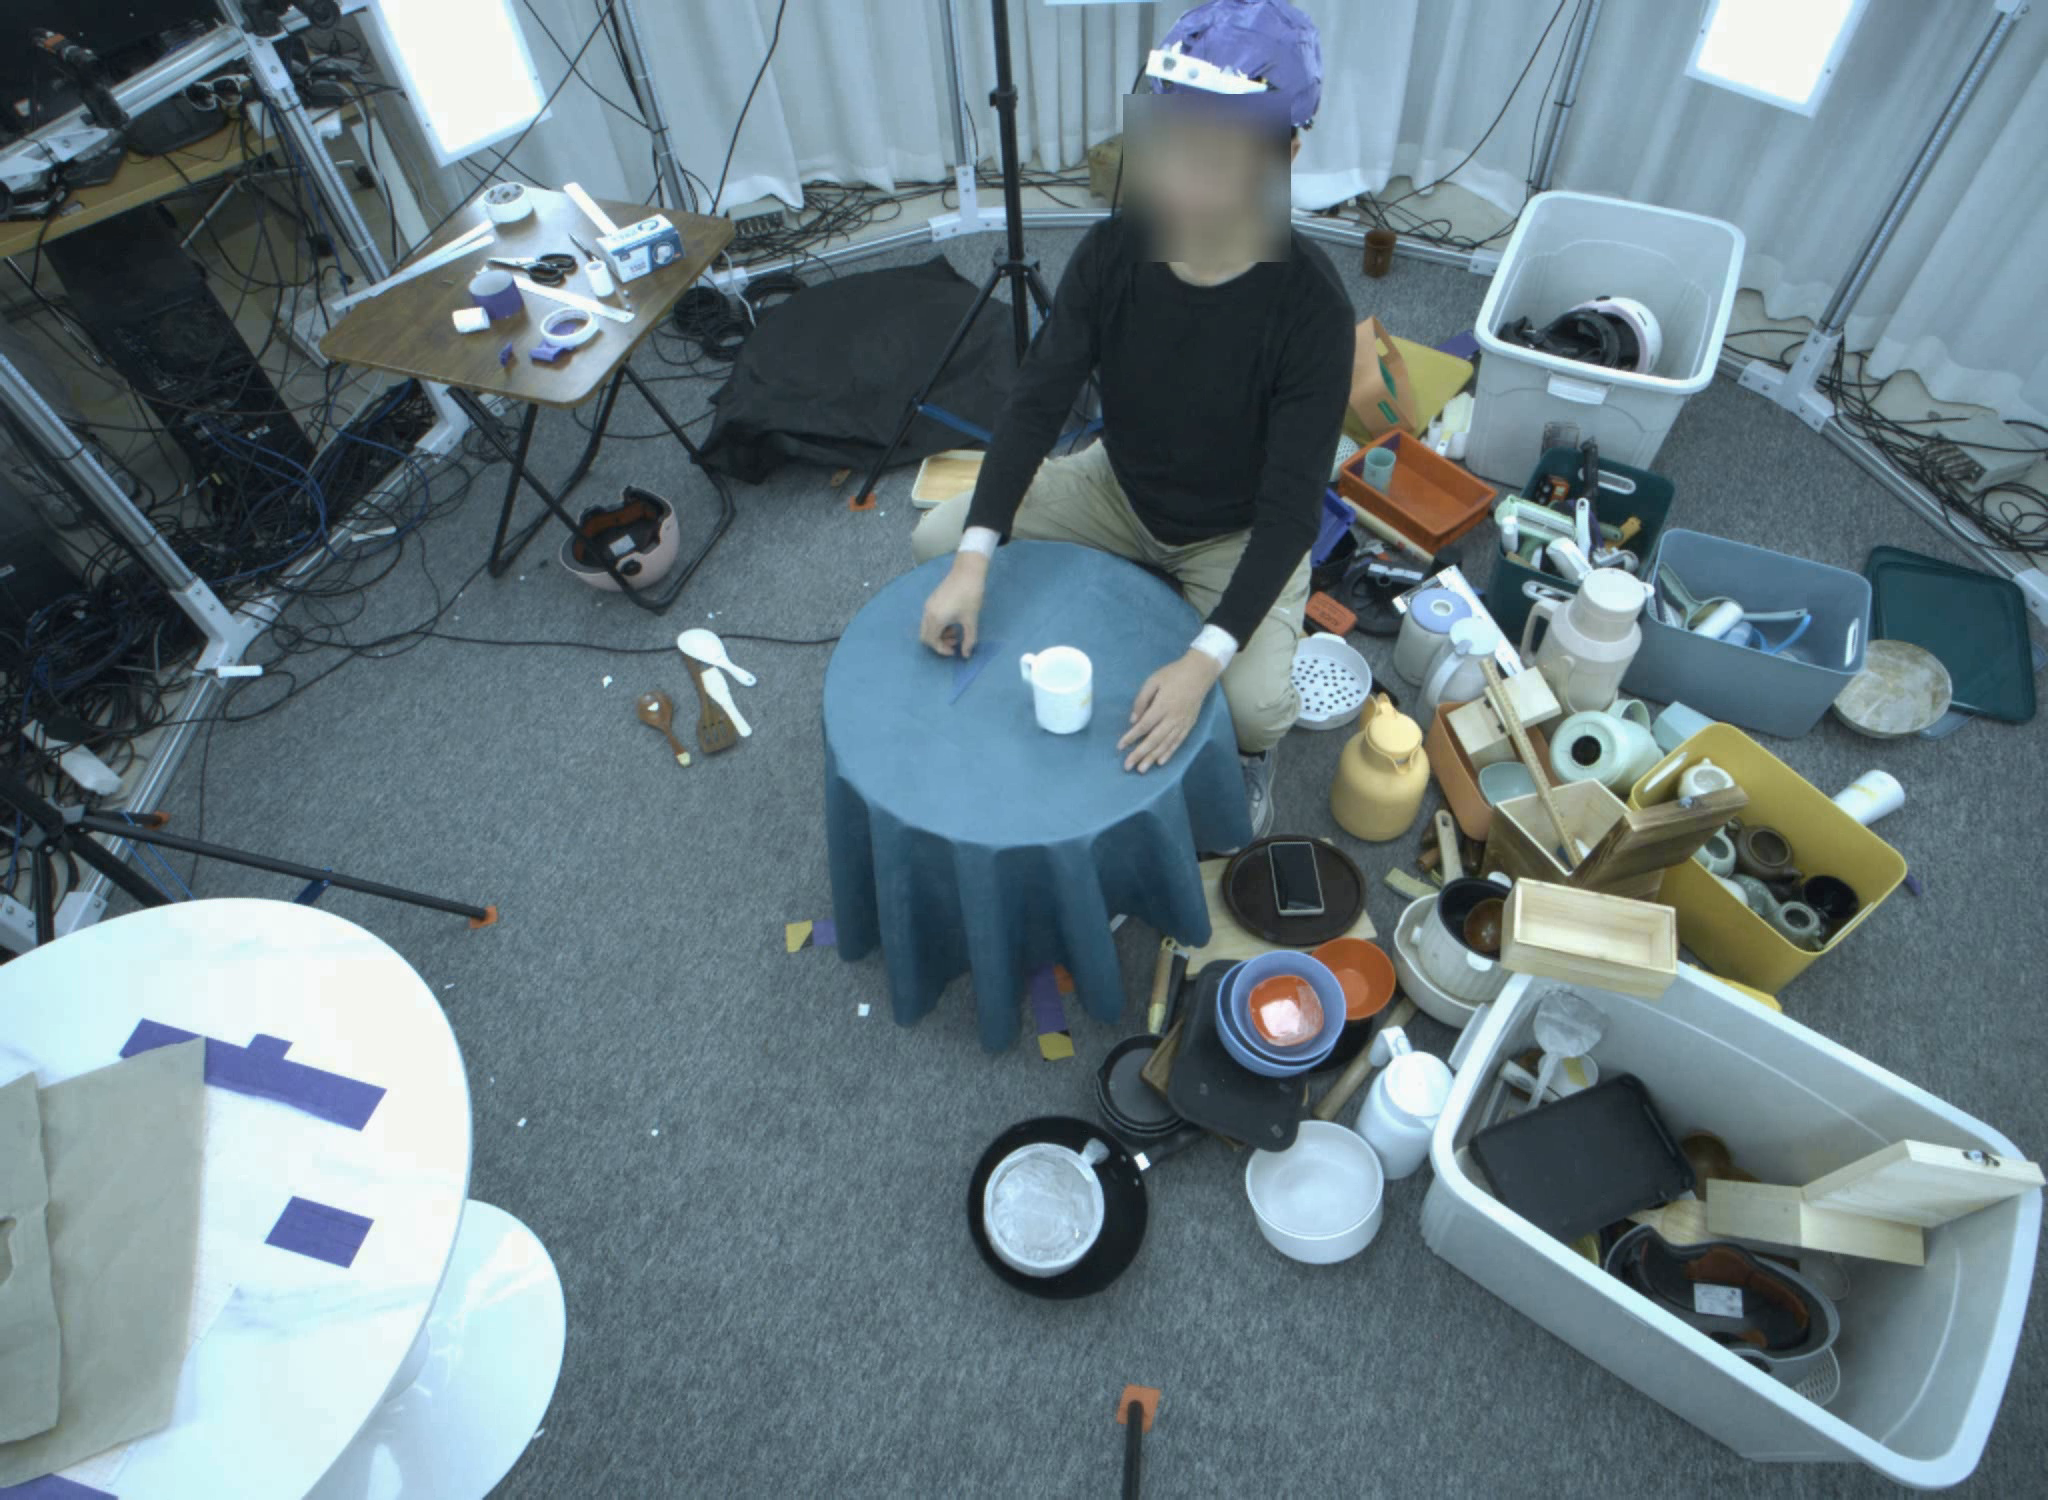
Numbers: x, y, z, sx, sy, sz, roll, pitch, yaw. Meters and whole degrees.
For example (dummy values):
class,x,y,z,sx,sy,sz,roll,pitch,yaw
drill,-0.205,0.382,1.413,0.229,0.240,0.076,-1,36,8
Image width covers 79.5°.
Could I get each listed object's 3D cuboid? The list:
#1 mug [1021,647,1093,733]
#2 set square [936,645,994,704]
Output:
class,x,y,z,sx,sy,sz,roll,pitch,yaw
mug,0.045,-0.093,1.789,0.116,0.103,0.085,33,63,23
set square,-0.108,-0.125,1.878,0.060,0.006,0.132,30,61,22
